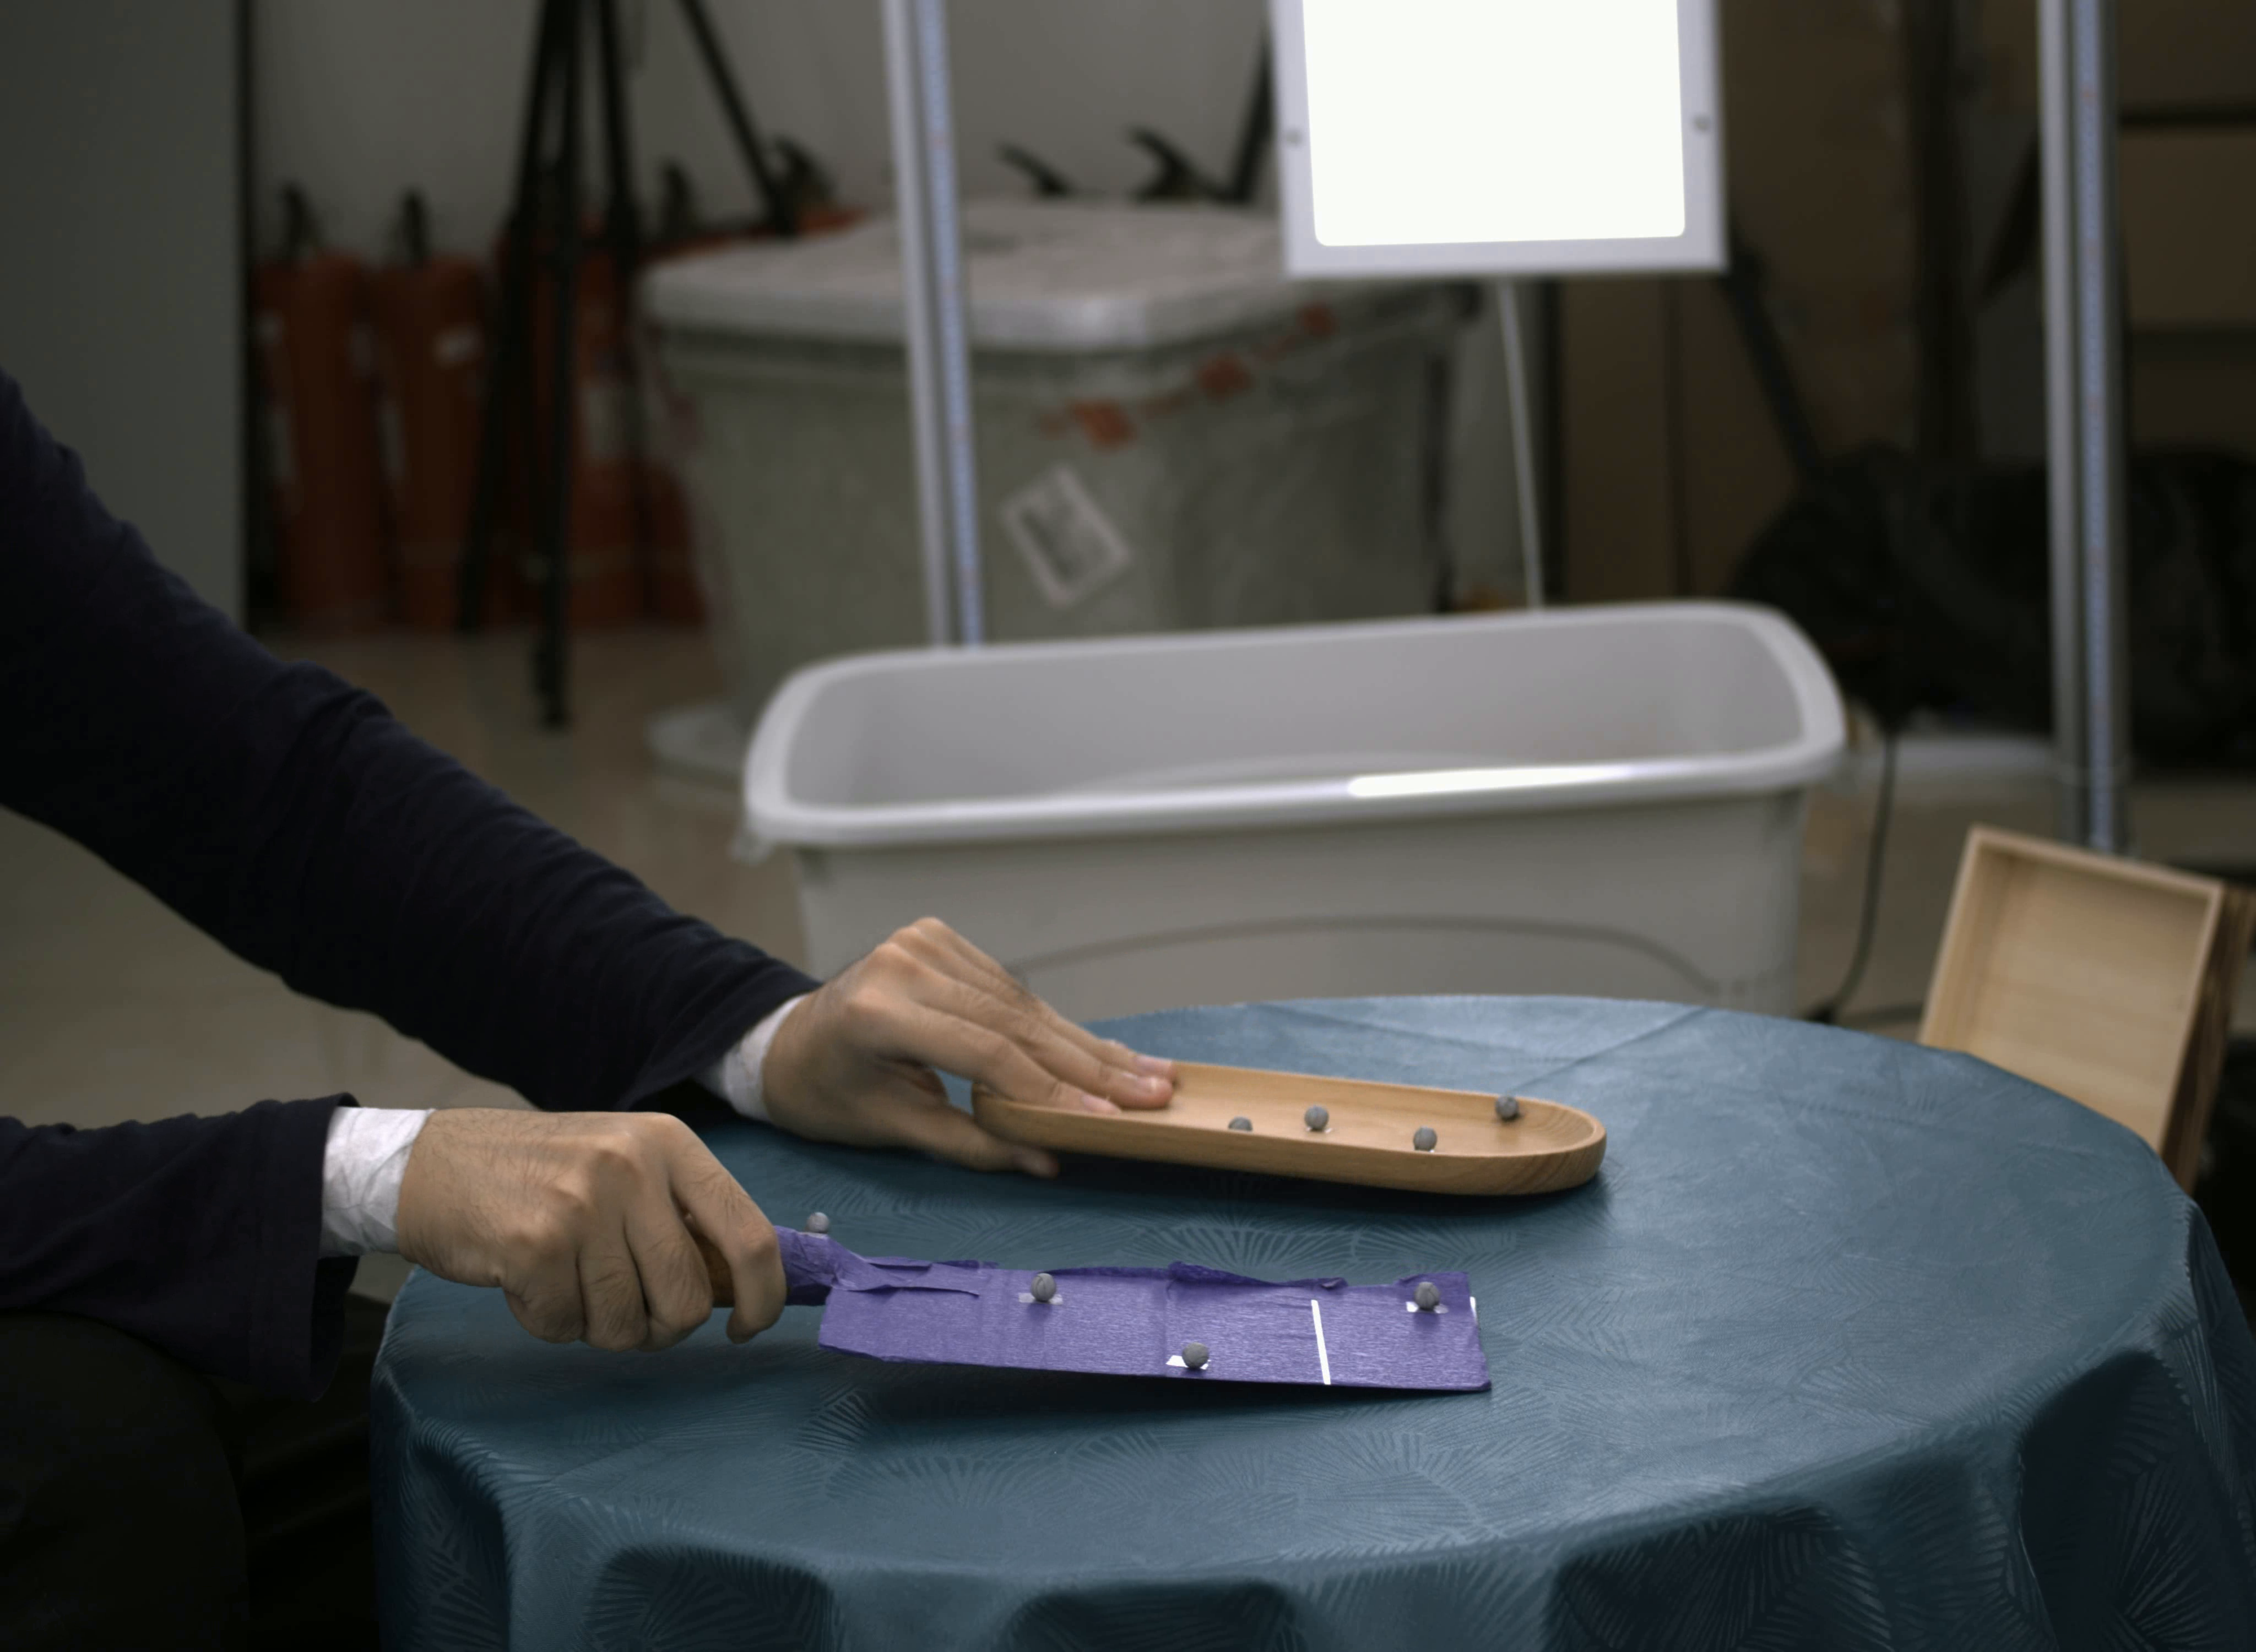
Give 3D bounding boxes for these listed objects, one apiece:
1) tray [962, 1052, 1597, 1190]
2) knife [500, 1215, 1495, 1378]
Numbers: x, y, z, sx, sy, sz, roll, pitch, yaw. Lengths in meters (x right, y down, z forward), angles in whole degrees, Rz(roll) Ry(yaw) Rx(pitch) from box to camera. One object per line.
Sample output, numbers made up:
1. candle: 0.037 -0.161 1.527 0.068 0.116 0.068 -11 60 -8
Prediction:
1. tray: 0.051 0.102 1.914 0.235 0.020 0.099 4 9 25
2. knife: -0.043 0.148 1.724 0.315 0.032 0.103 1 13 2
